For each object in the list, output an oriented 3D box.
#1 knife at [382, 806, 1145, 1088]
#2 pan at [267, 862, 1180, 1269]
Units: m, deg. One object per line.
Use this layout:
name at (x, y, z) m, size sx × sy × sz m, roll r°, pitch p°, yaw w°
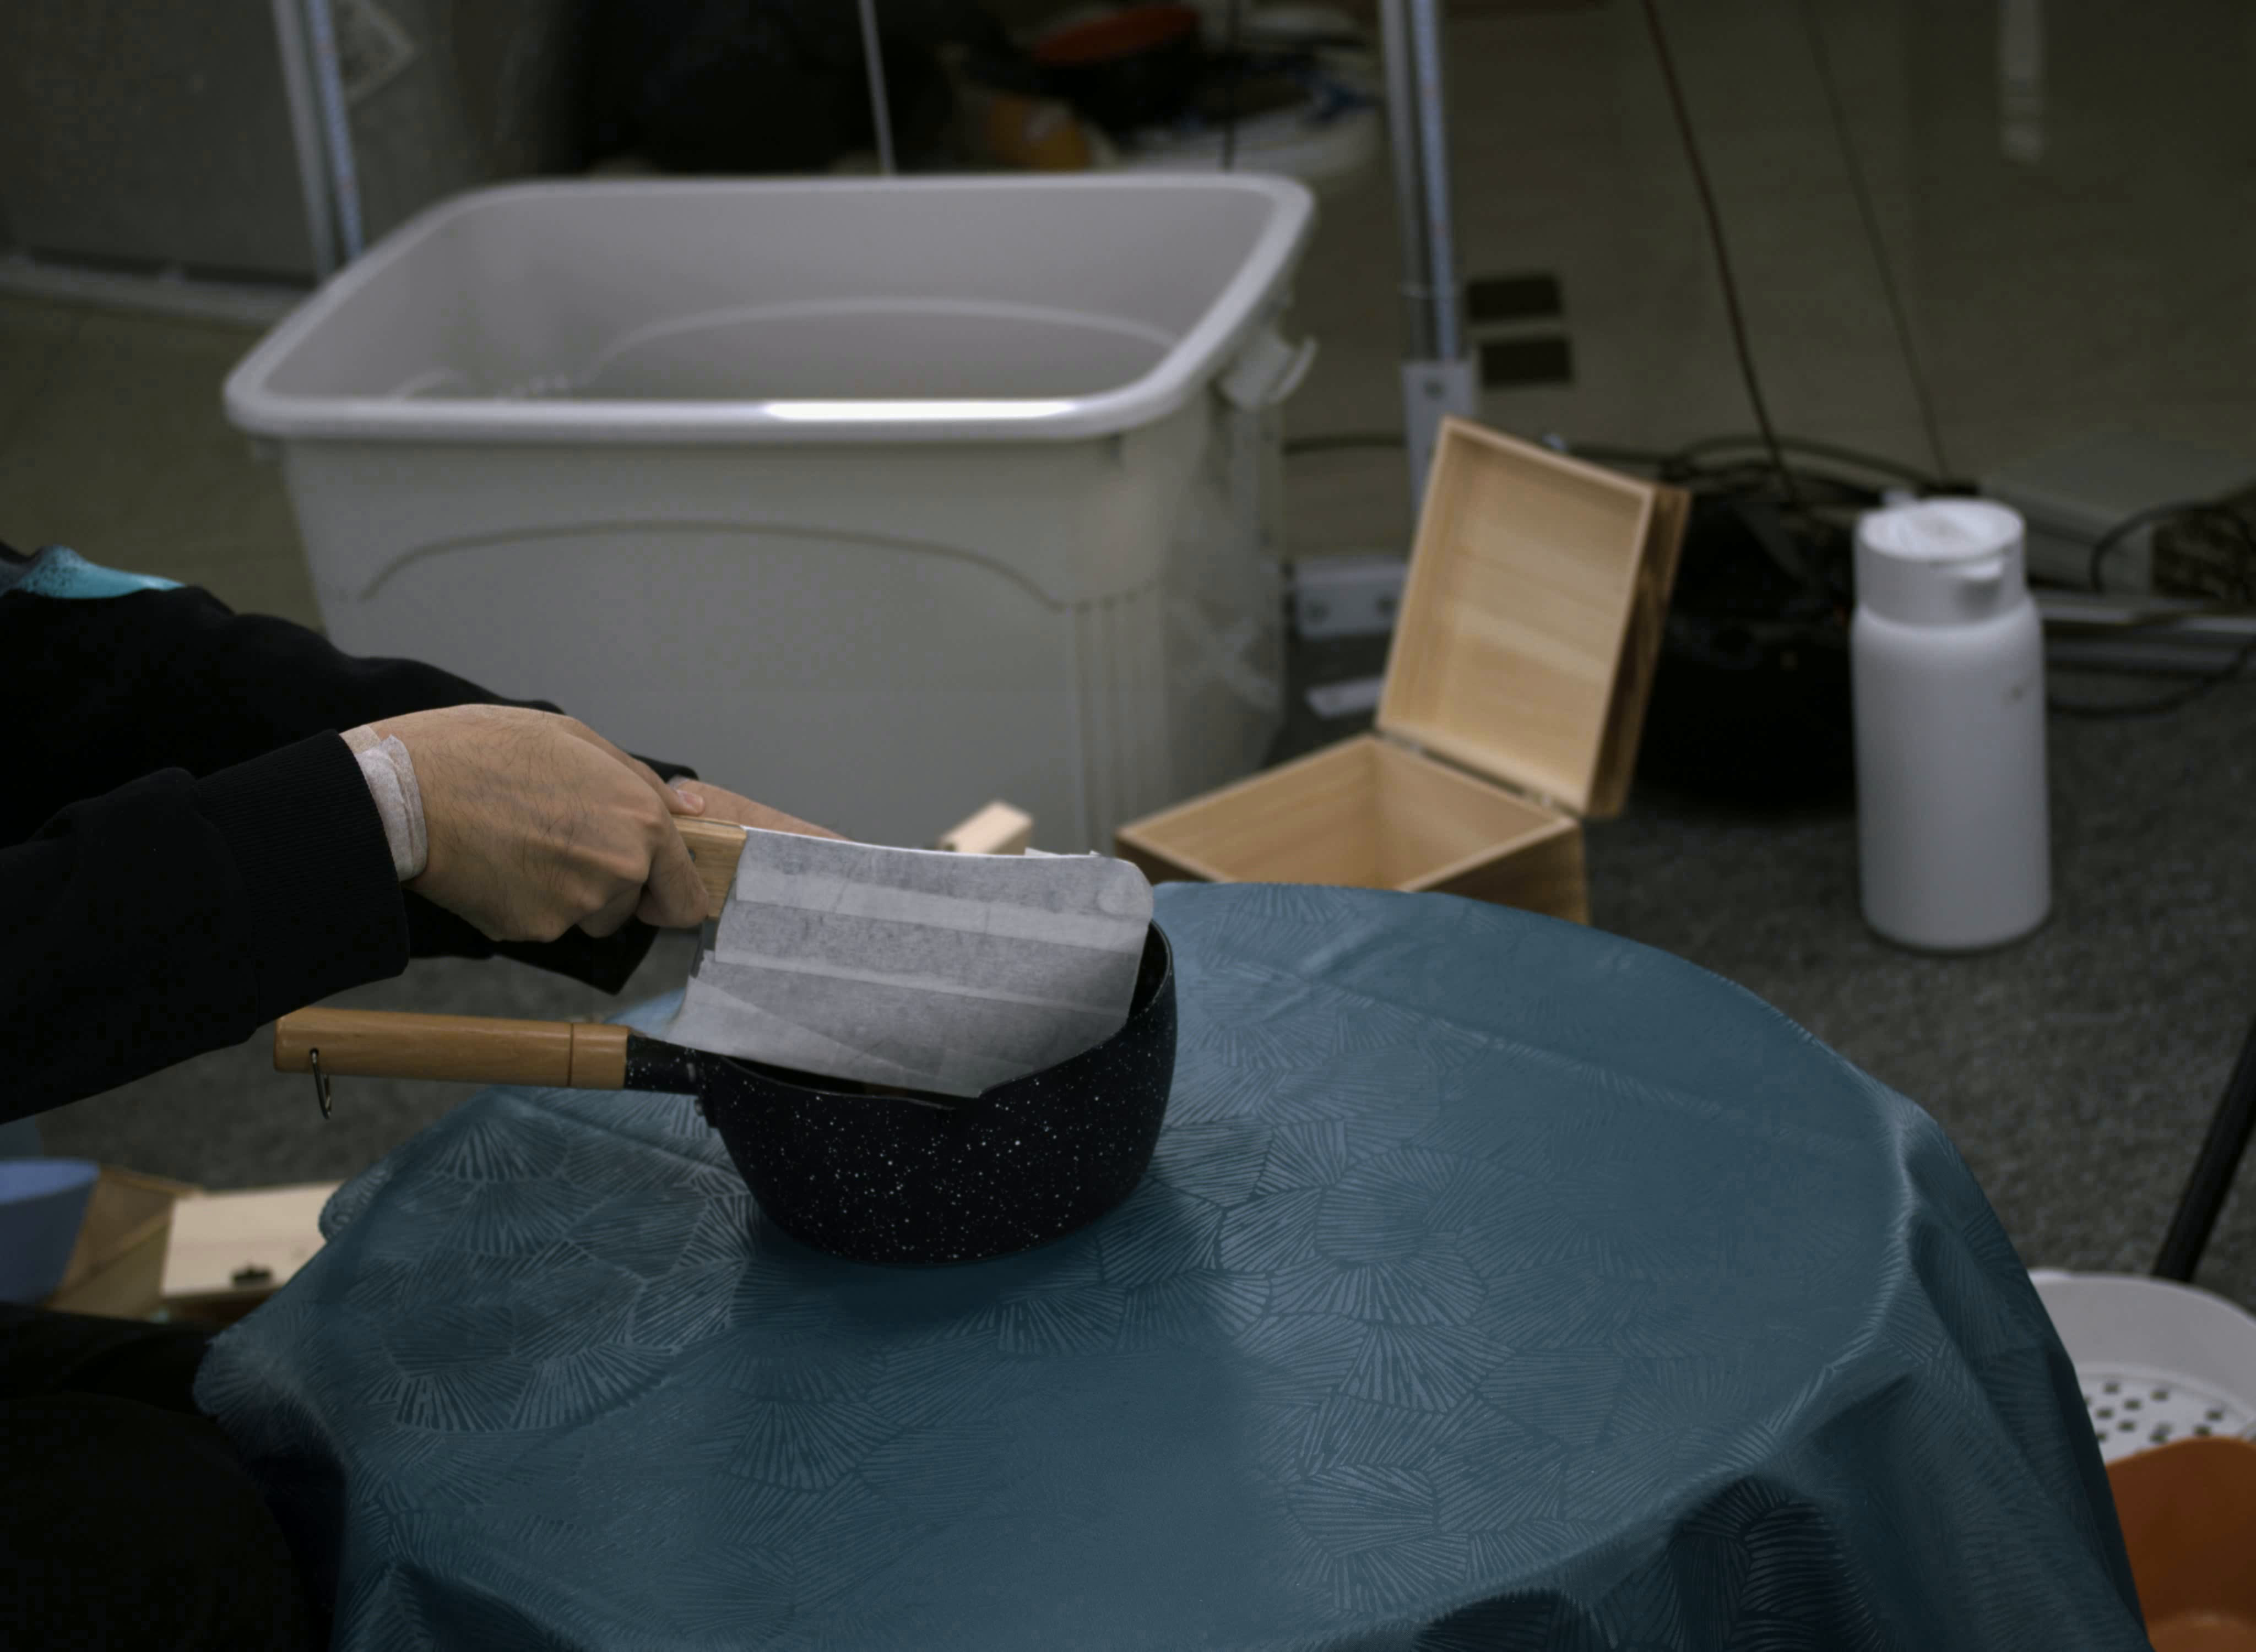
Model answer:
knife at (-0.128, 0.035, 2.092) m, size 0.316 × 0.115 × 0.021 m, roll 13°, pitch 10°, yaw -28°
pan at (-0.149, 0.096, 2.144) m, size 0.342 × 0.110 × 0.204 m, roll -8°, pitch 26°, yaw -5°
